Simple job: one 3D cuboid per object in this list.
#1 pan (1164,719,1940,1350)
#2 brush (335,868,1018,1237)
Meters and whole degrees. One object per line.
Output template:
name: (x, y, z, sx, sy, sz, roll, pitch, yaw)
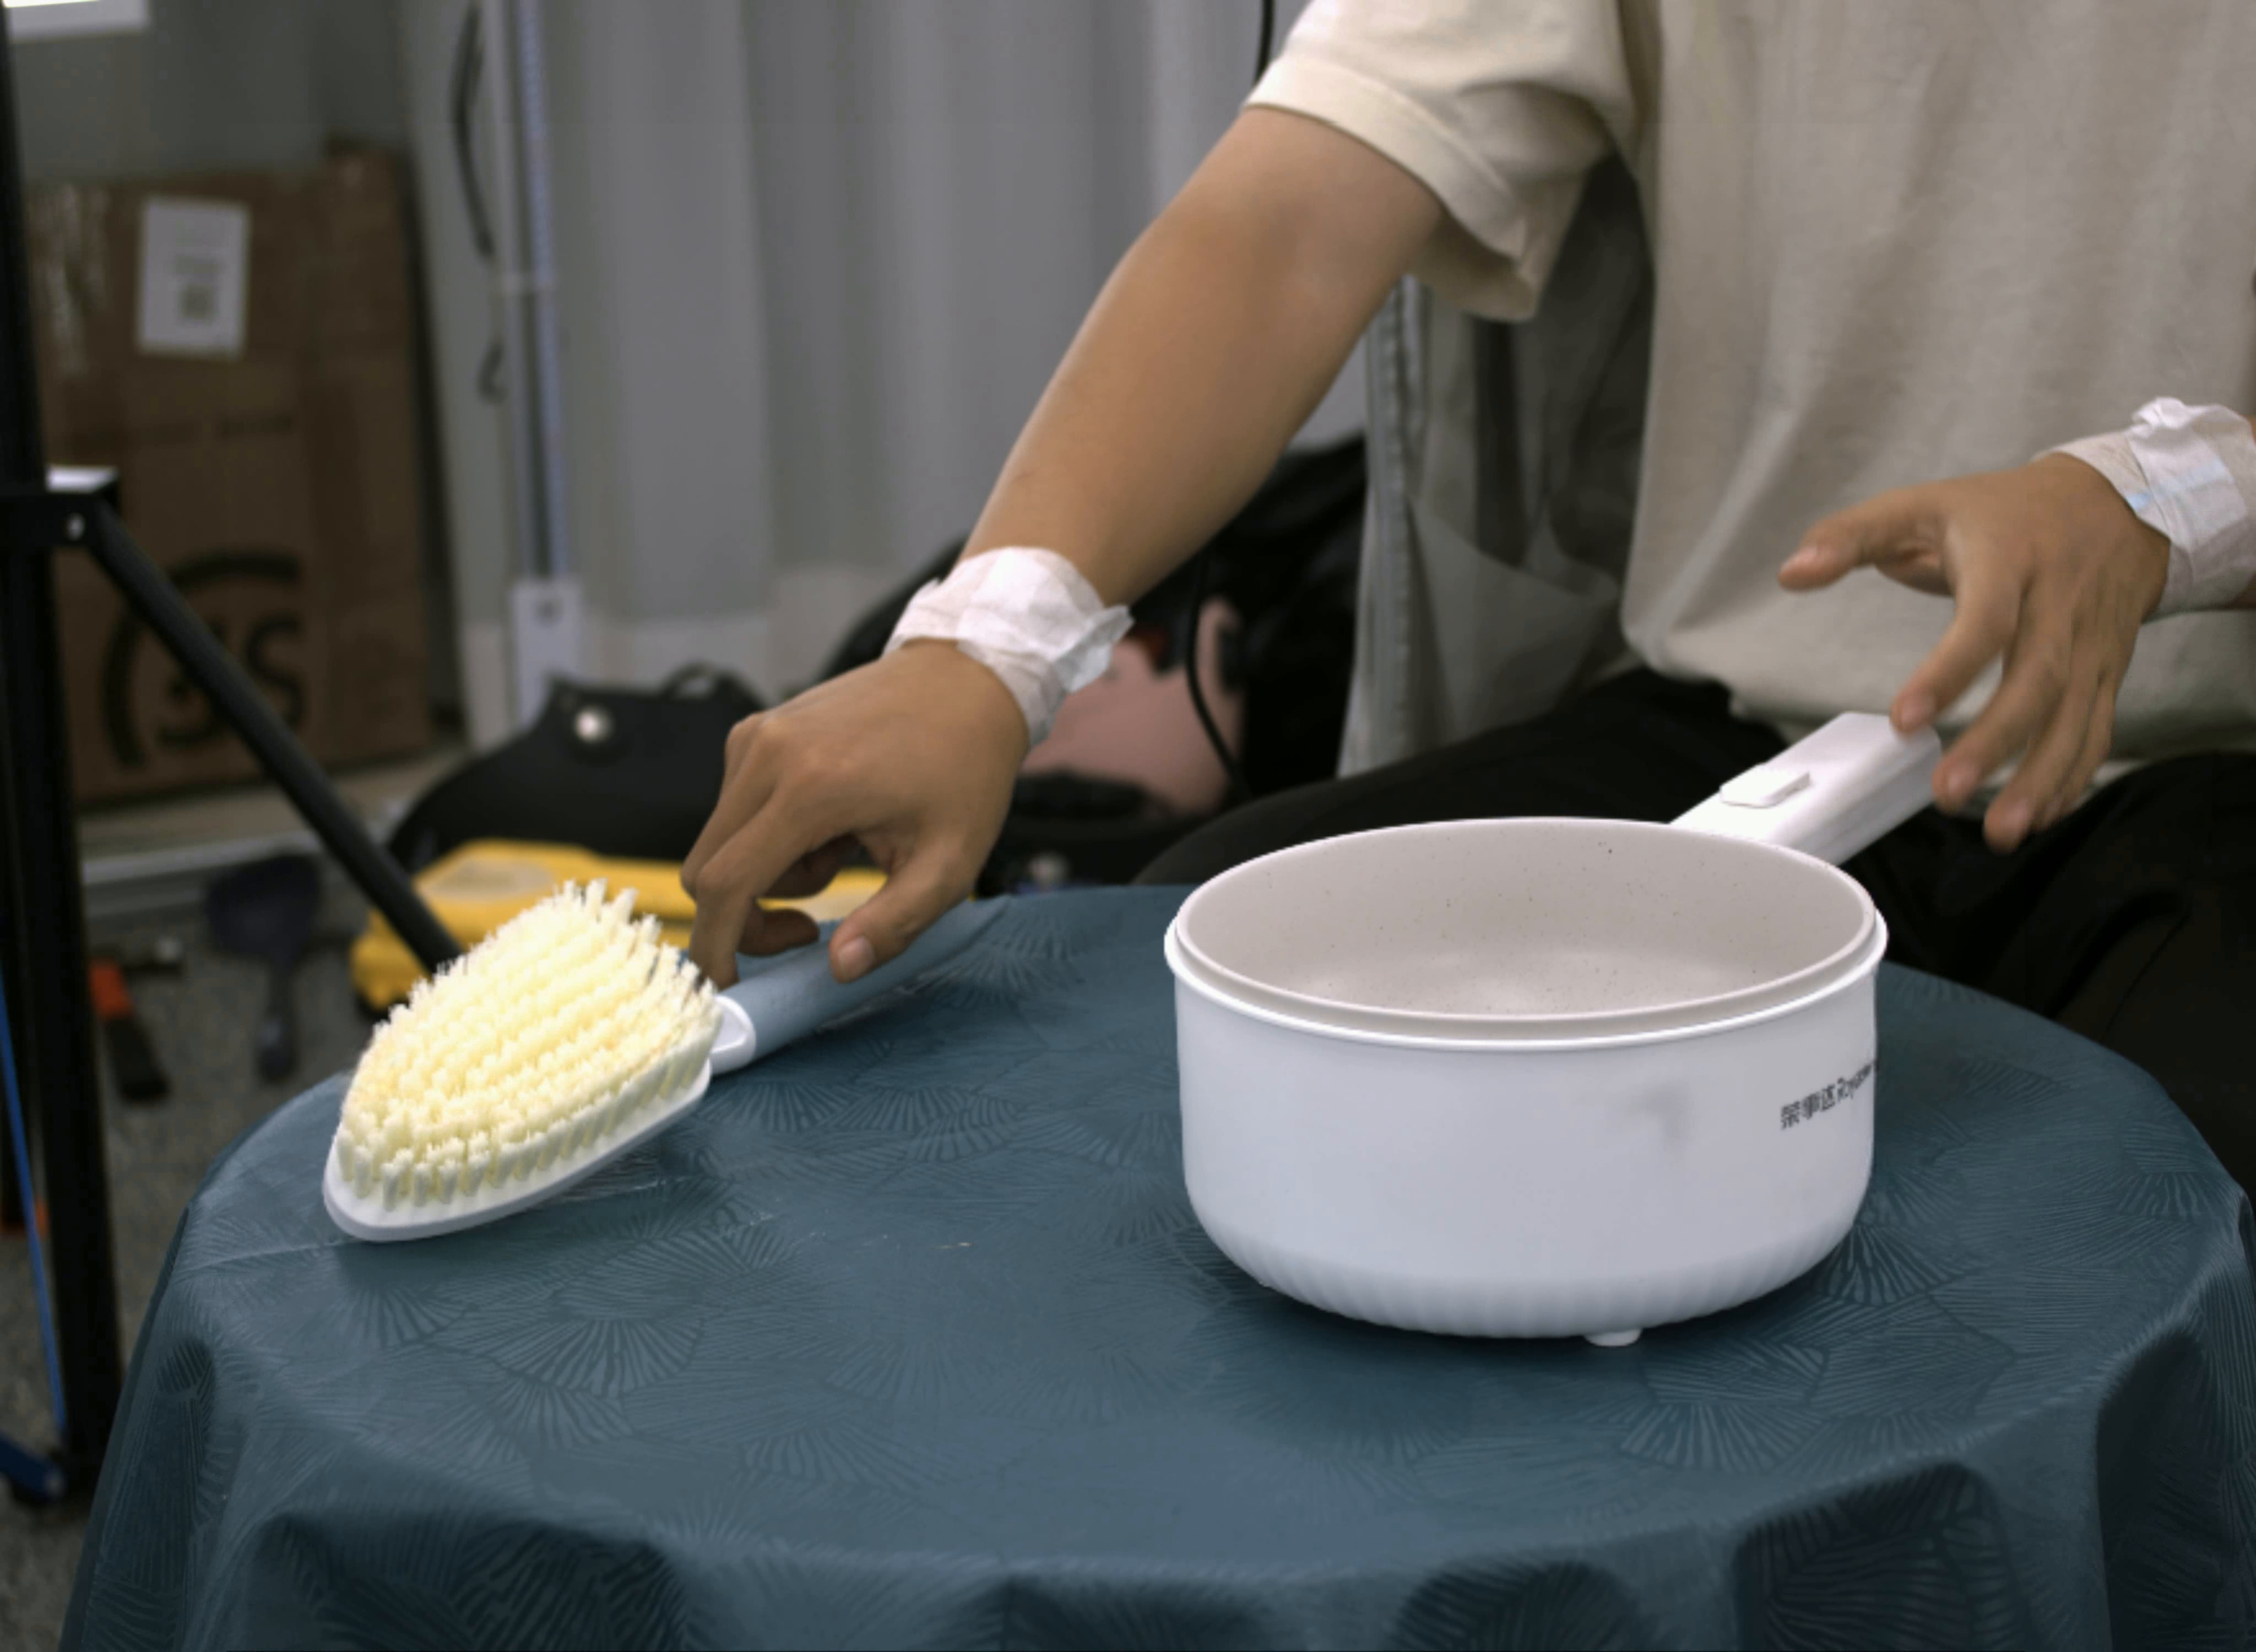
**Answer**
pan: (0.150, 0.055, 1.542, 0.205, 0.102, 0.348, 6, 17, 31)
brush: (-0.123, 0.043, 1.647, 0.086, 0.083, 0.319, -9, 11, 39)
